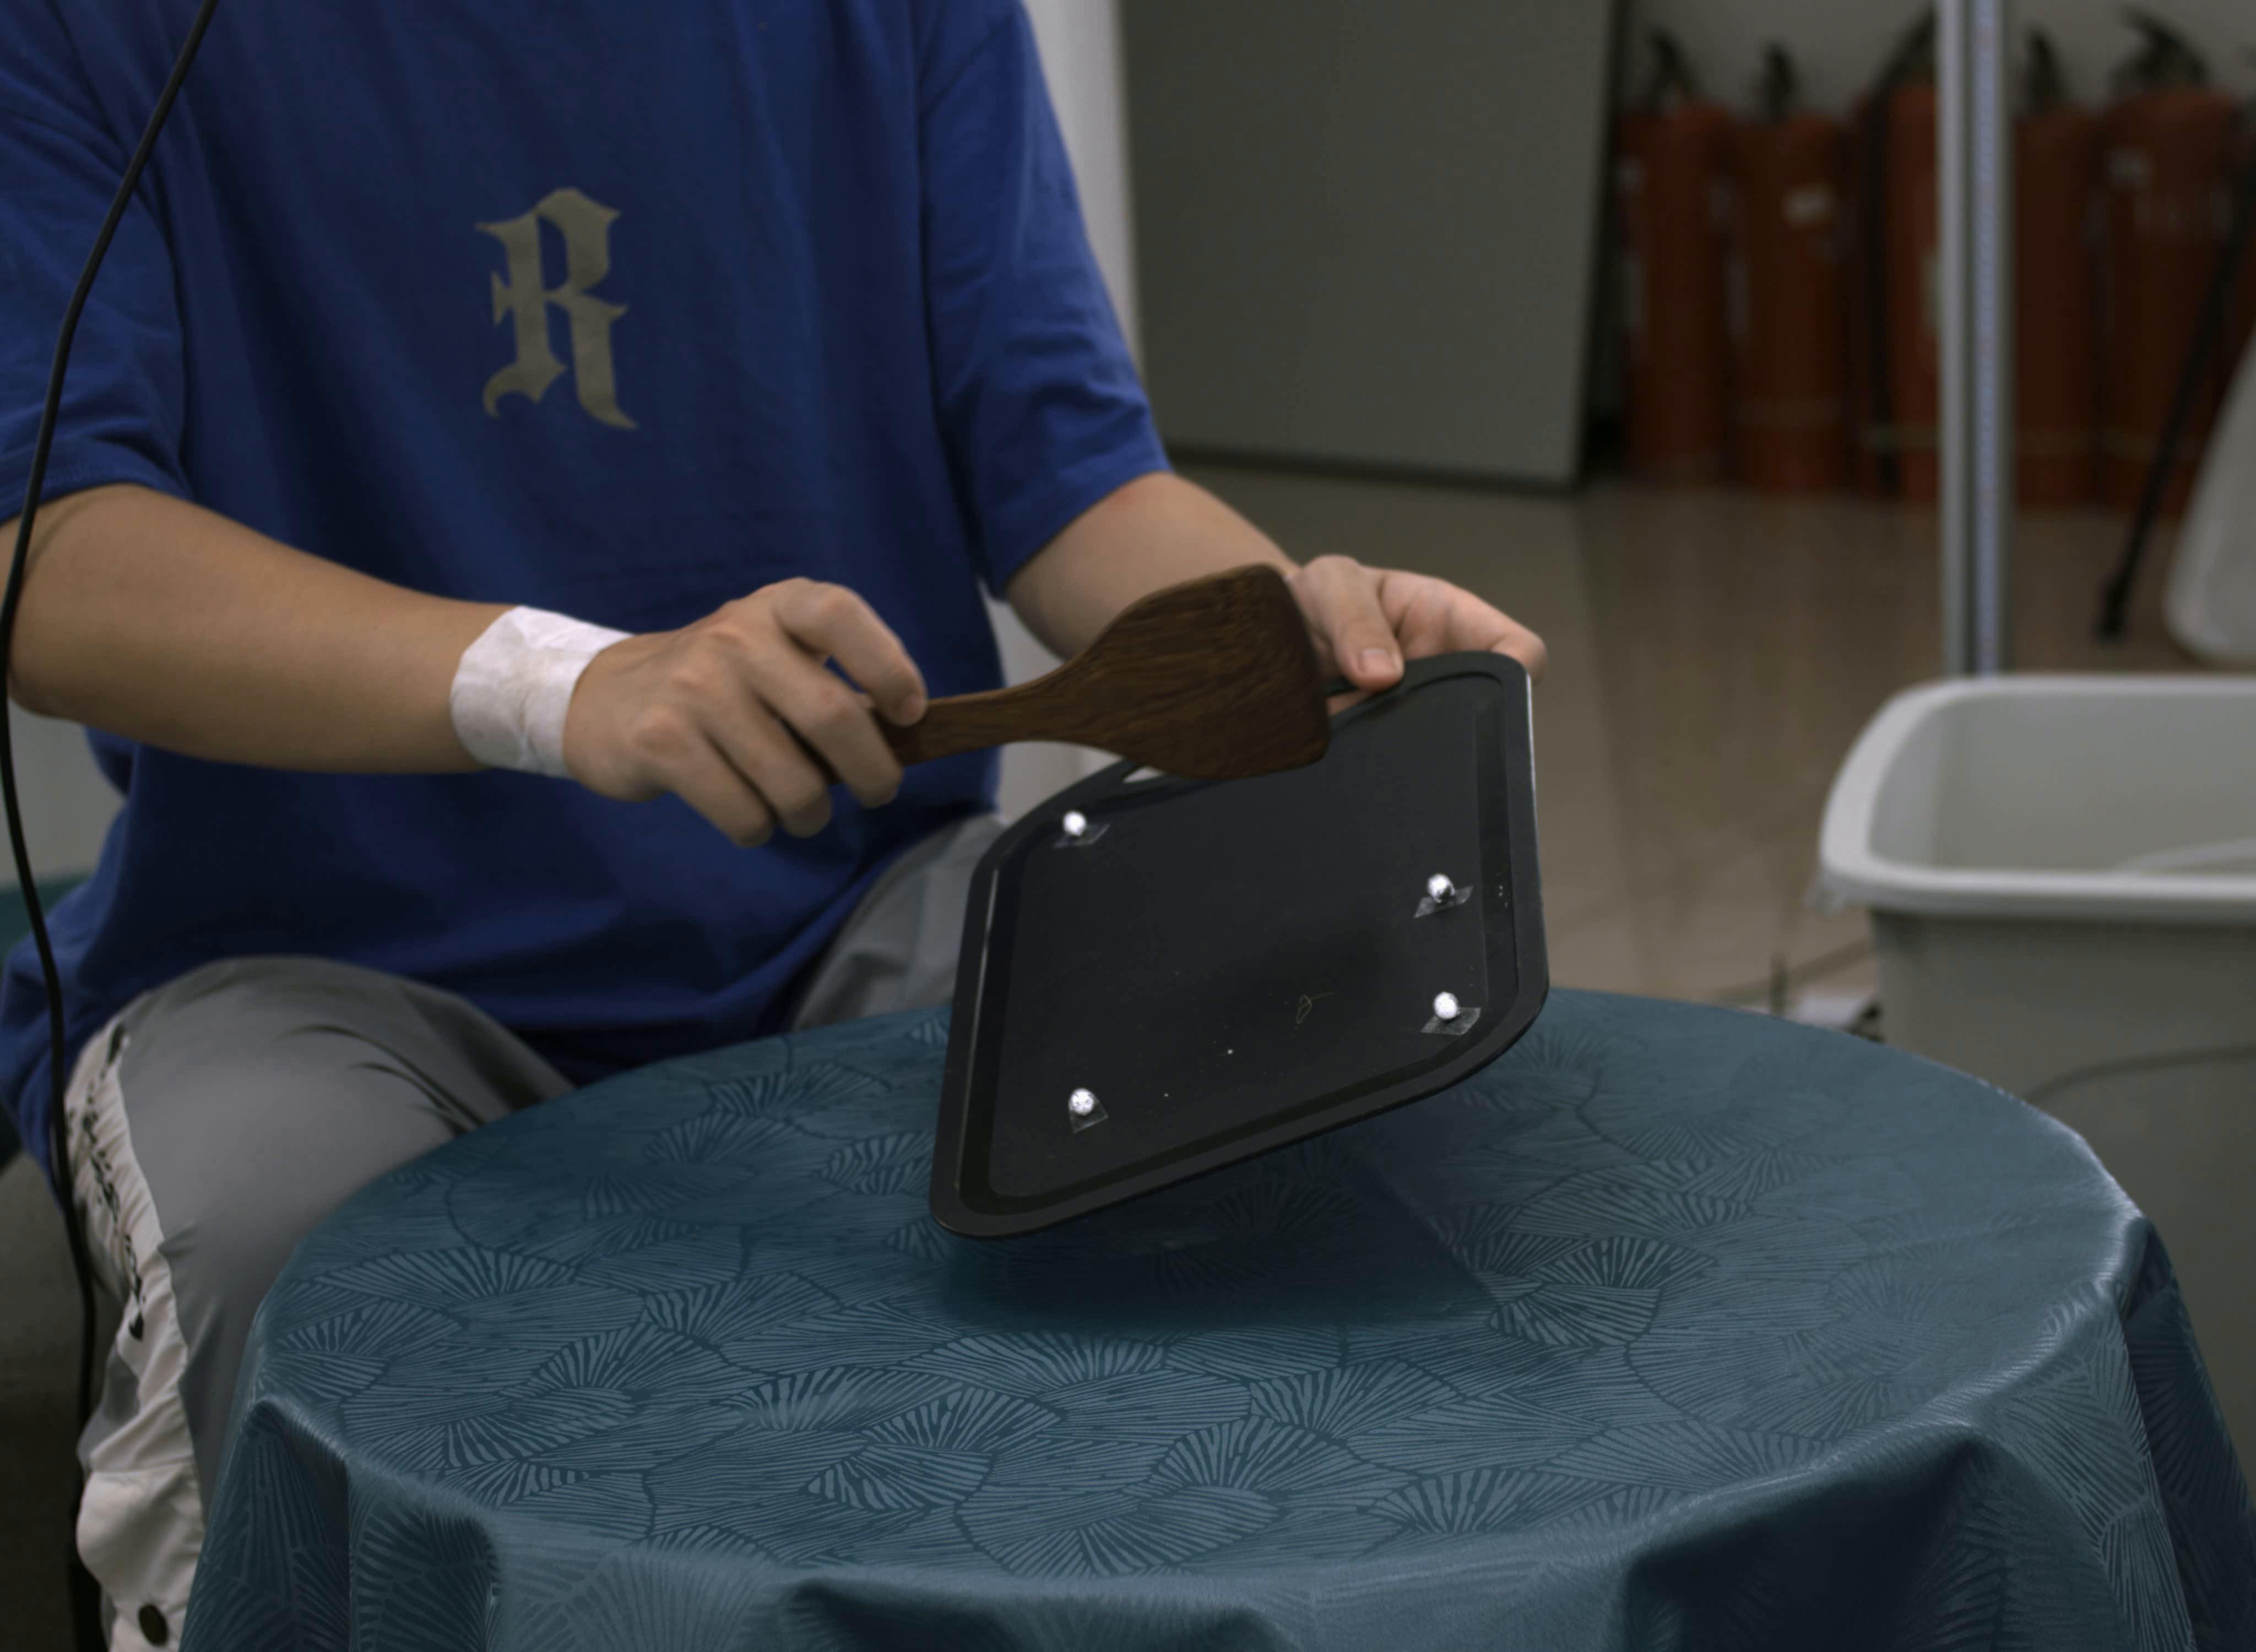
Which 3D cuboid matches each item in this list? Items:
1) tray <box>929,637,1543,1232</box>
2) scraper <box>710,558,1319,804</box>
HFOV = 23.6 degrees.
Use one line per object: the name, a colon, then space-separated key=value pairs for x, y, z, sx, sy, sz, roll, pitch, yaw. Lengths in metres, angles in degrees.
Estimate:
tray: x=0.037 y=0.026 z=1.770 sx=0.210 sy=0.010 sz=0.326 roll=-21 pitch=24 yaw=13
scraper: x=-0.041 y=-0.036 z=1.758 sx=0.211 sy=0.076 sz=0.011 roll=-10 pitch=24 yaw=22
